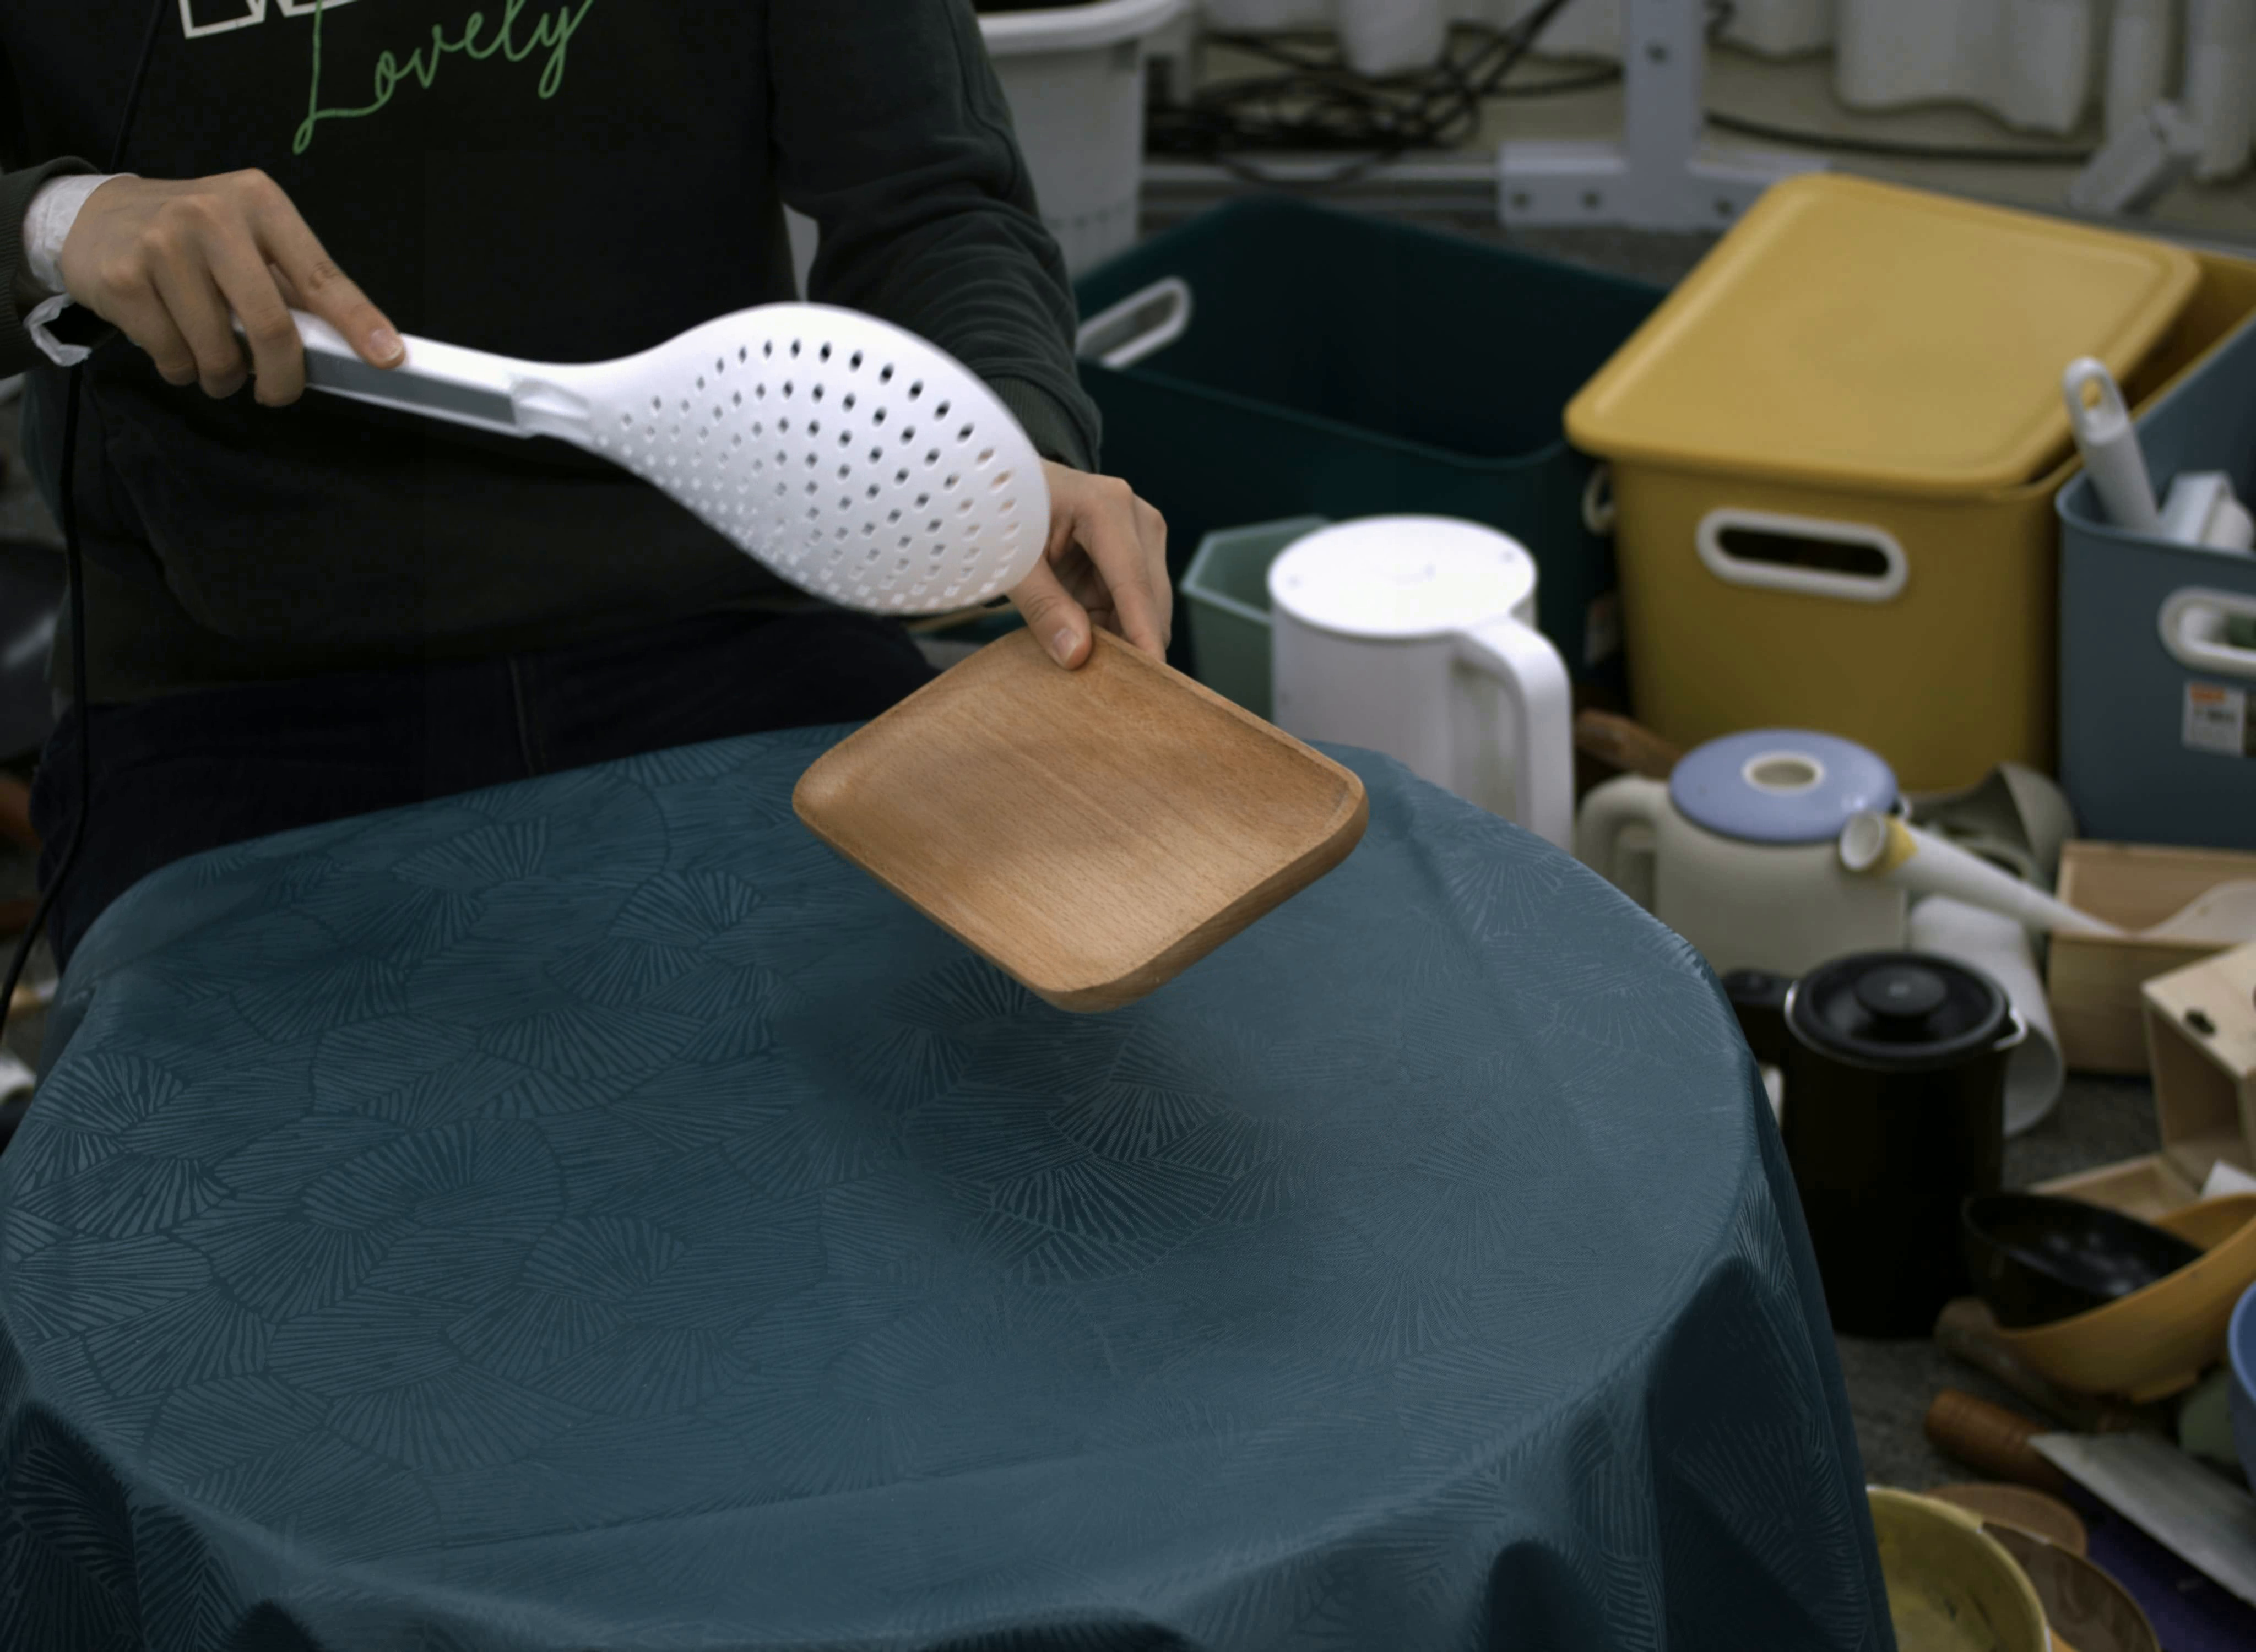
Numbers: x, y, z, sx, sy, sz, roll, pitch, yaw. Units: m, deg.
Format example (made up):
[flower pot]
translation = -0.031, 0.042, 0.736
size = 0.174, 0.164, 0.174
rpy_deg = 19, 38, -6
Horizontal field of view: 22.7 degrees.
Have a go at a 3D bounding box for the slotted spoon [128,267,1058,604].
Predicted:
[slotted spoon]
translation = -0.188, -0.147, 1.926
size = 0.348, 0.134, 0.046
rpy_deg = 17, 48, 22

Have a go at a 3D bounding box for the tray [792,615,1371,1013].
[tray]
translation = -0.018, -0.006, 1.884
size = 0.131, 0.022, 0.251
rpy_deg = -32, 27, -15
